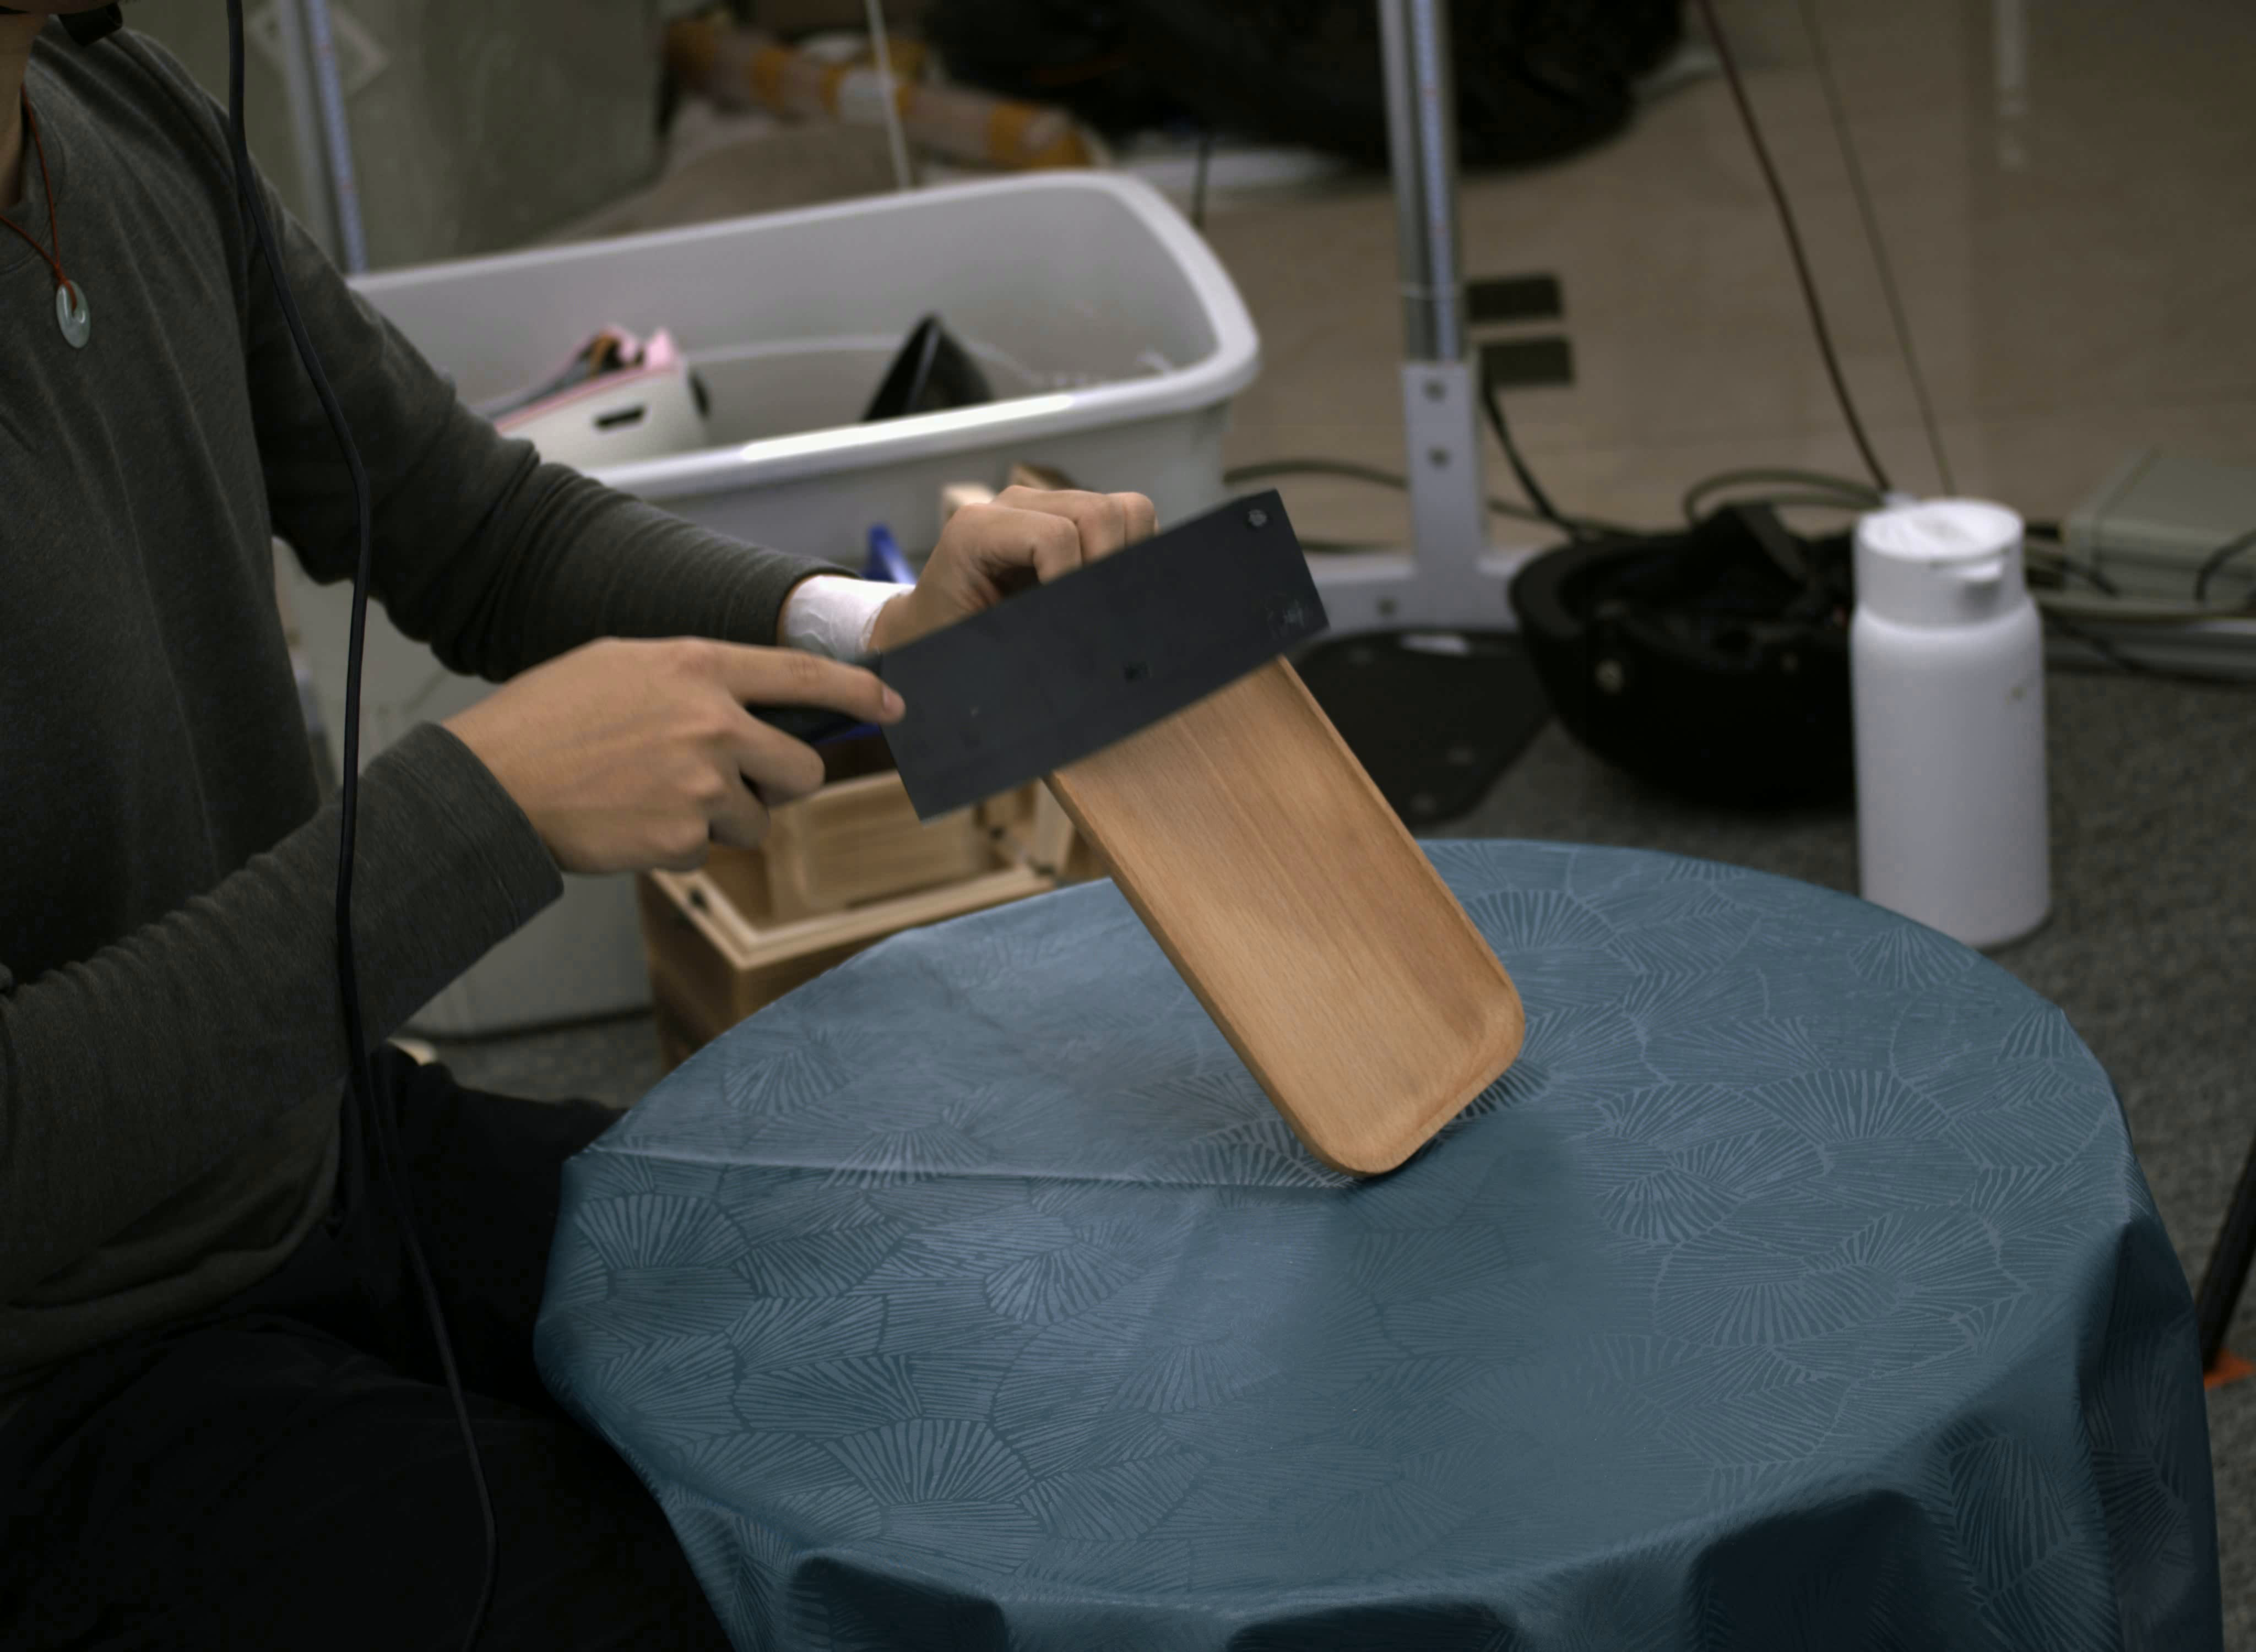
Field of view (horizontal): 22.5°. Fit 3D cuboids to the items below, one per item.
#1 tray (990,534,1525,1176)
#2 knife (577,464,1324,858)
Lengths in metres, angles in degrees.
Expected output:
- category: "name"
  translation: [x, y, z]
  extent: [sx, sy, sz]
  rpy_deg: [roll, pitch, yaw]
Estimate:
- category: "tray"
  translation: [0.049, 0.010, 2.157]
  extent: [0.129, 0.251, 0.023]
  rpy_deg: [-38, 5, -40]
- category: "knife"
  translation: [-0.066, -0.052, 2.093]
  extent: [0.301, 0.081, 0.021]
  rpy_deg: [-21, 8, -17]
